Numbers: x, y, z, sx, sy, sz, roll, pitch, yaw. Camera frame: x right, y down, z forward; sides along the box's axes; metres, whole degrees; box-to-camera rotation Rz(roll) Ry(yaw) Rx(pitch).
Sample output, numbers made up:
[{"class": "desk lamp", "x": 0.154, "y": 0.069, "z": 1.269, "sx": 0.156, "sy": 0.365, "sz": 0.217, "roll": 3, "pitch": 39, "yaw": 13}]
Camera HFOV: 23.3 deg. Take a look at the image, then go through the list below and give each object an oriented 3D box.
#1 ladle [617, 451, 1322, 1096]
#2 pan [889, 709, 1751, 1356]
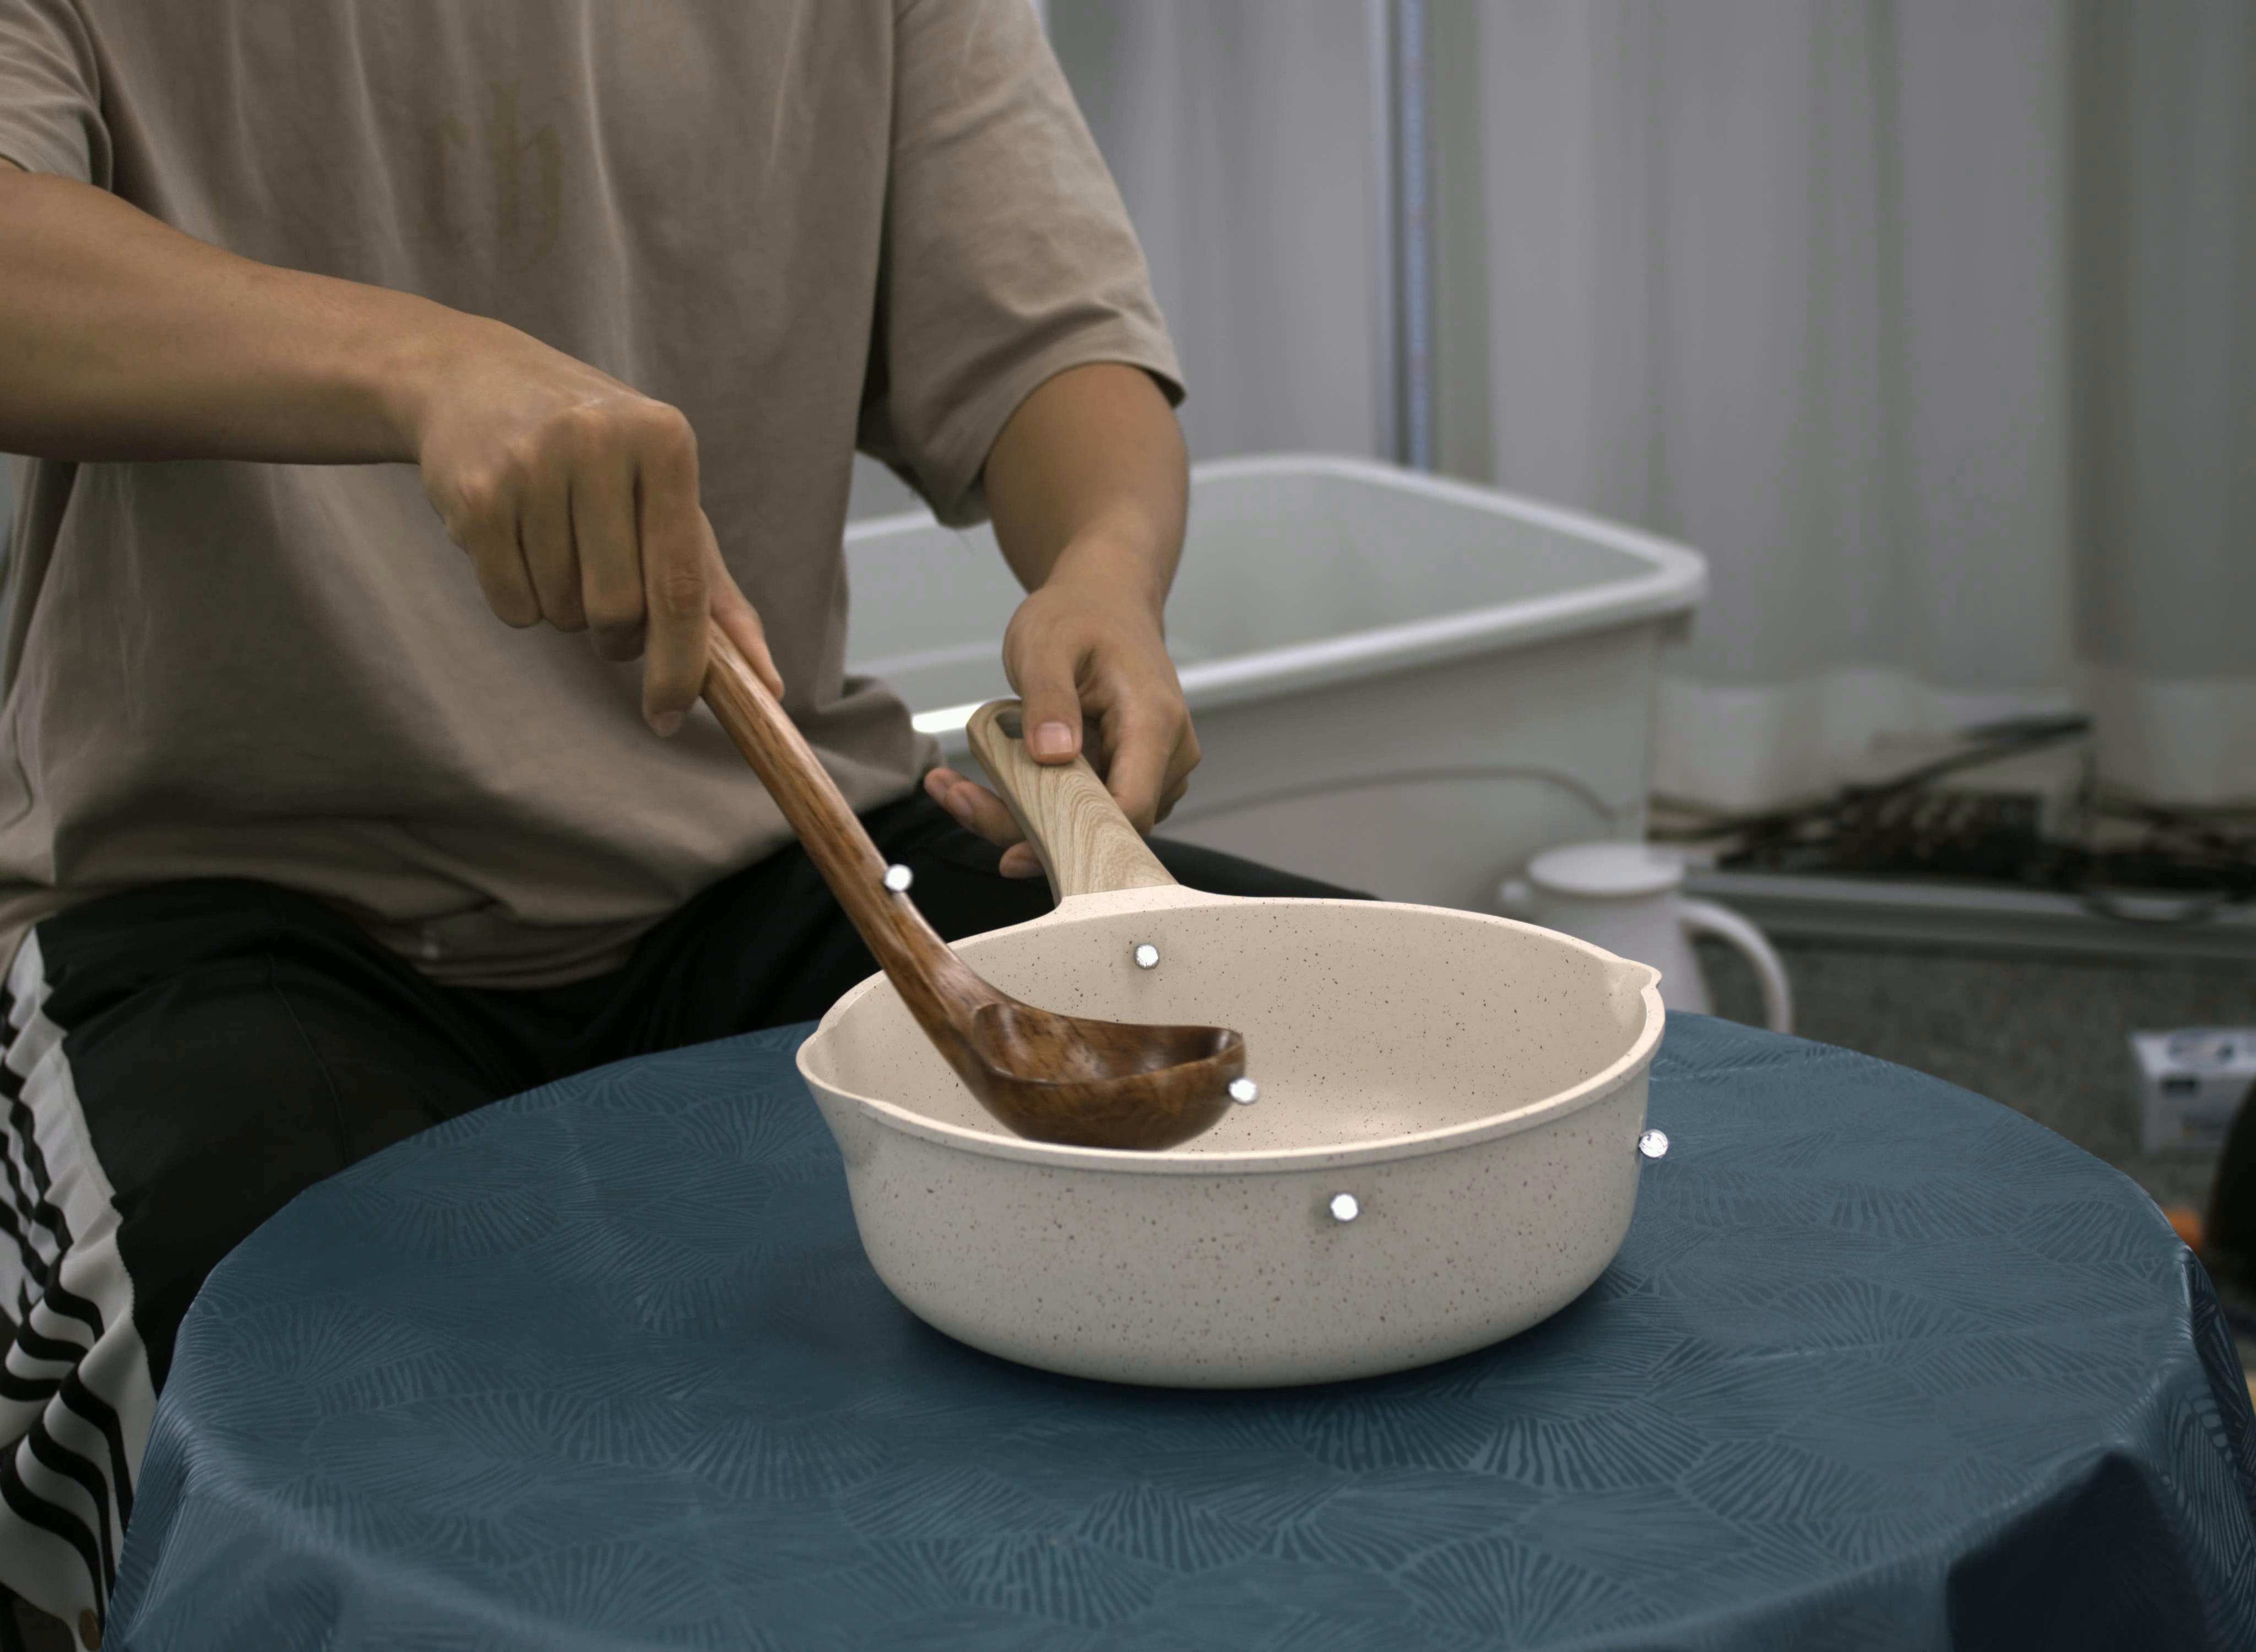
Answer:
[{"class": "ladle", "x": -0.046, "y": -0.019, "z": 1.599, "sx": 0.076, "sy": 0.275, "sz": 0.082, "roll": -40, "pitch": -11, "yaw": 20}, {"class": "pan", "x": 0.037, "y": 0.058, "z": 1.712, "sx": 0.262, "sy": 0.101, "sz": 0.438, "roll": -8, "pitch": 15, "yaw": -13}]
